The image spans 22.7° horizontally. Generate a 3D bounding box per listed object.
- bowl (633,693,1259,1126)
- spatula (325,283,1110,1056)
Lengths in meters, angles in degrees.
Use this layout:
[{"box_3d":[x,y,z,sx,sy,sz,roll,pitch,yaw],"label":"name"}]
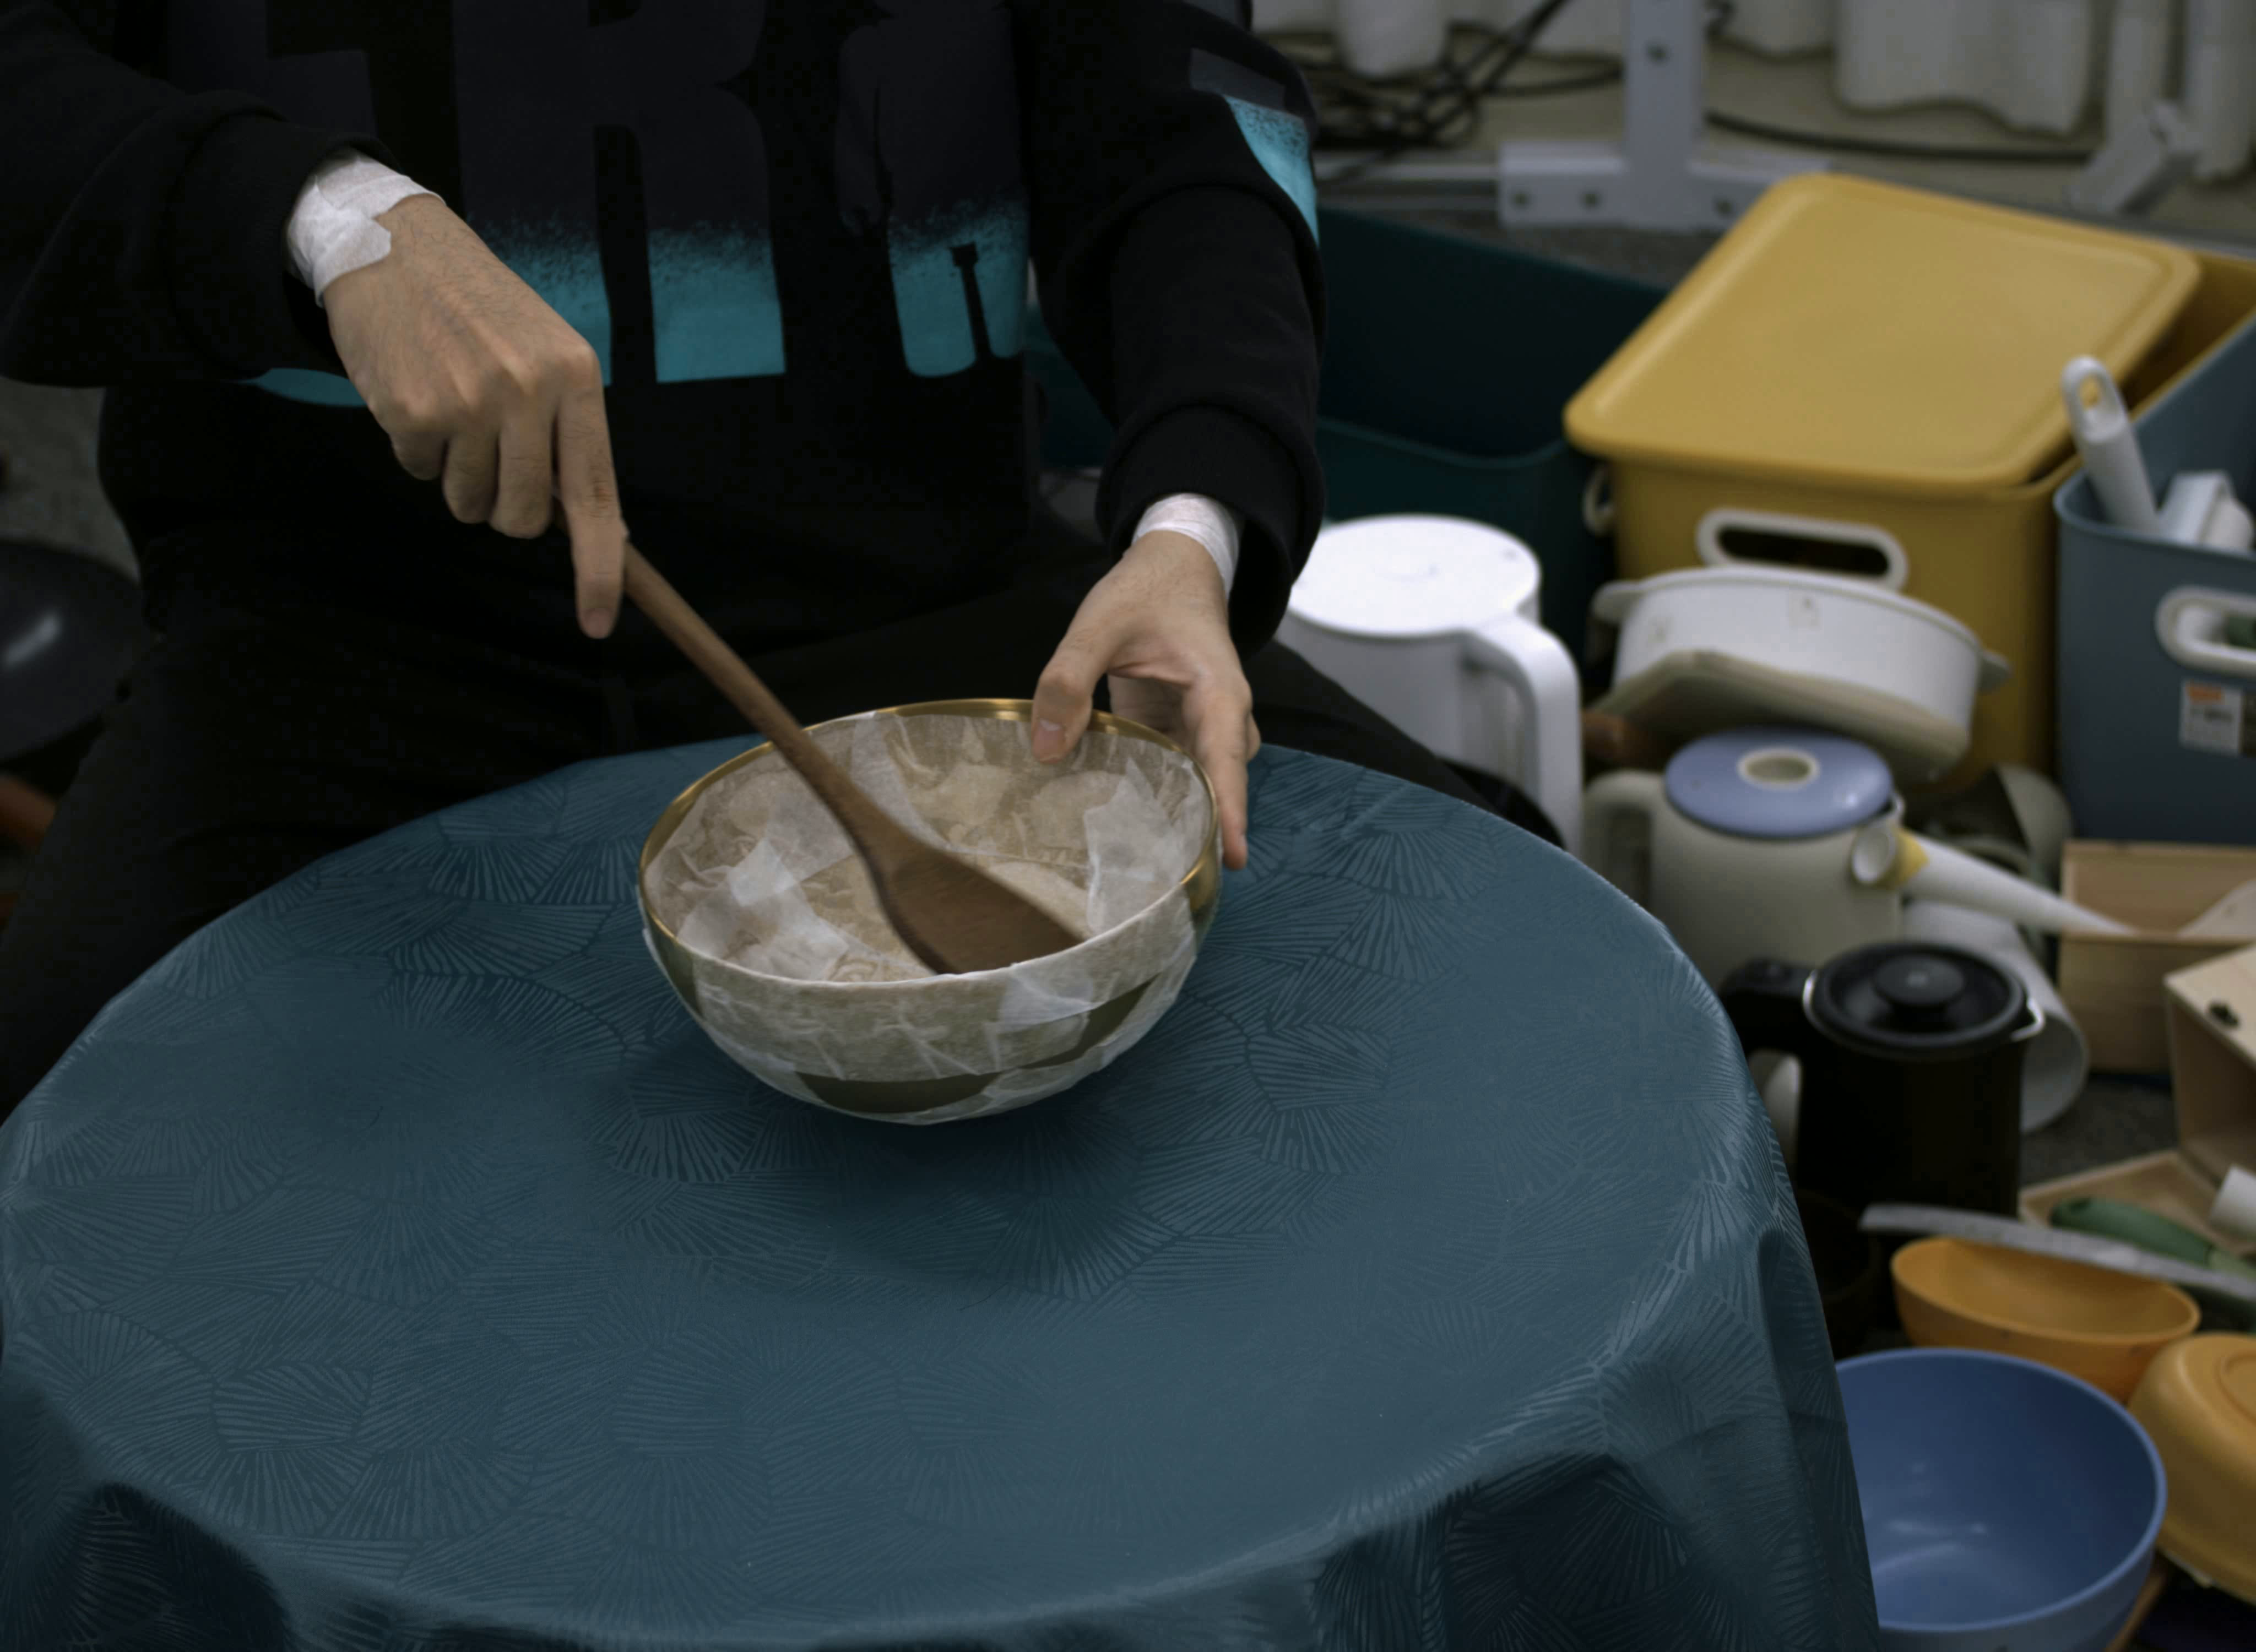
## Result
[{"box_3d":[-0.058,0.041,1.918,0.213,0.093,0.218,-6,26,3],"label":"bowl"},{"box_3d":[-0.145,-0.057,1.913,0.387,0.015,0.096,46,20,15],"label":"spatula"}]
